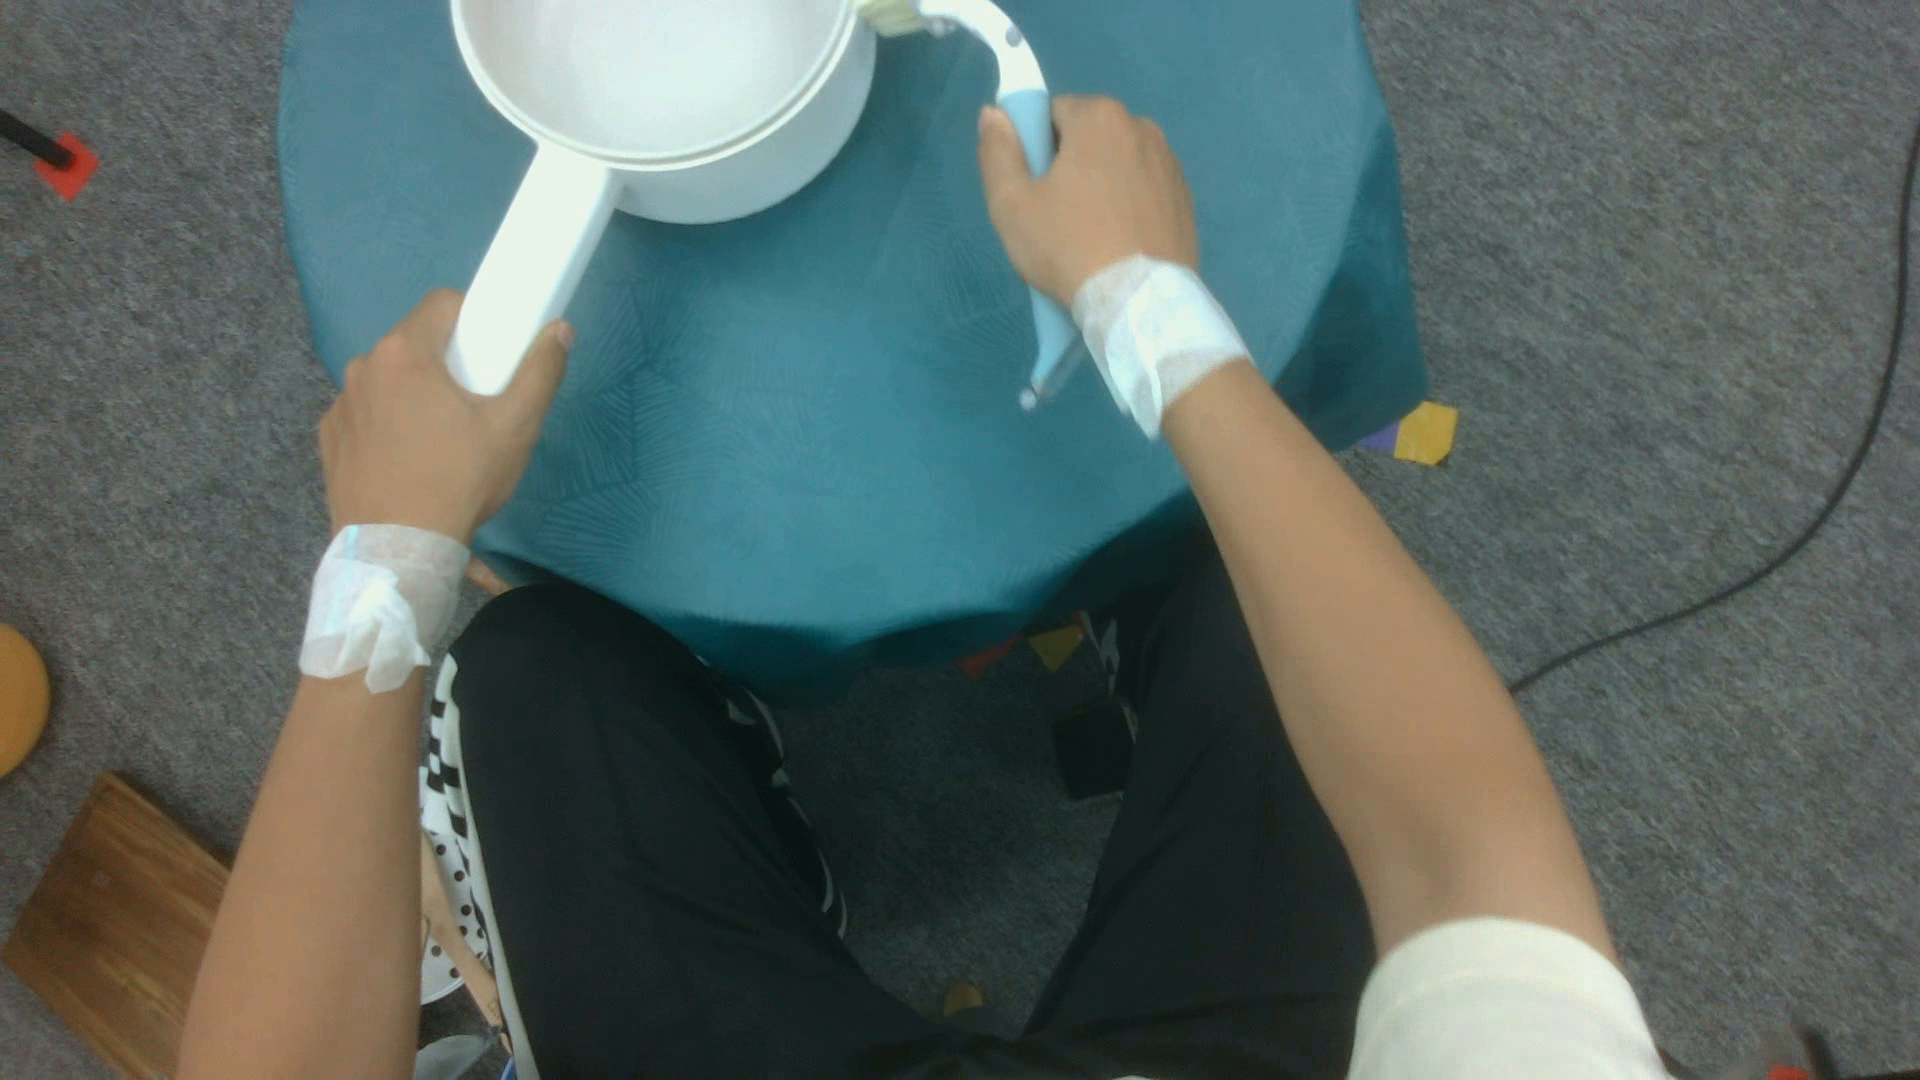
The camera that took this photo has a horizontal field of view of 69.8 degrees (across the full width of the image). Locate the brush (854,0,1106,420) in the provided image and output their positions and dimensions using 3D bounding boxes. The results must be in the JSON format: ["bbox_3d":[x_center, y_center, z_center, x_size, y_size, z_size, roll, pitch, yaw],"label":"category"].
[{"bbox_3d":[-0.006,-0.208,0.664,0.083,0.084,0.326,-2,76,-32],"label":"brush"}]

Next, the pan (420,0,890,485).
[{"bbox_3d":[-0.166,-0.189,0.716,0.201,0.102,0.355,22,82,8],"label":"pan"}]
